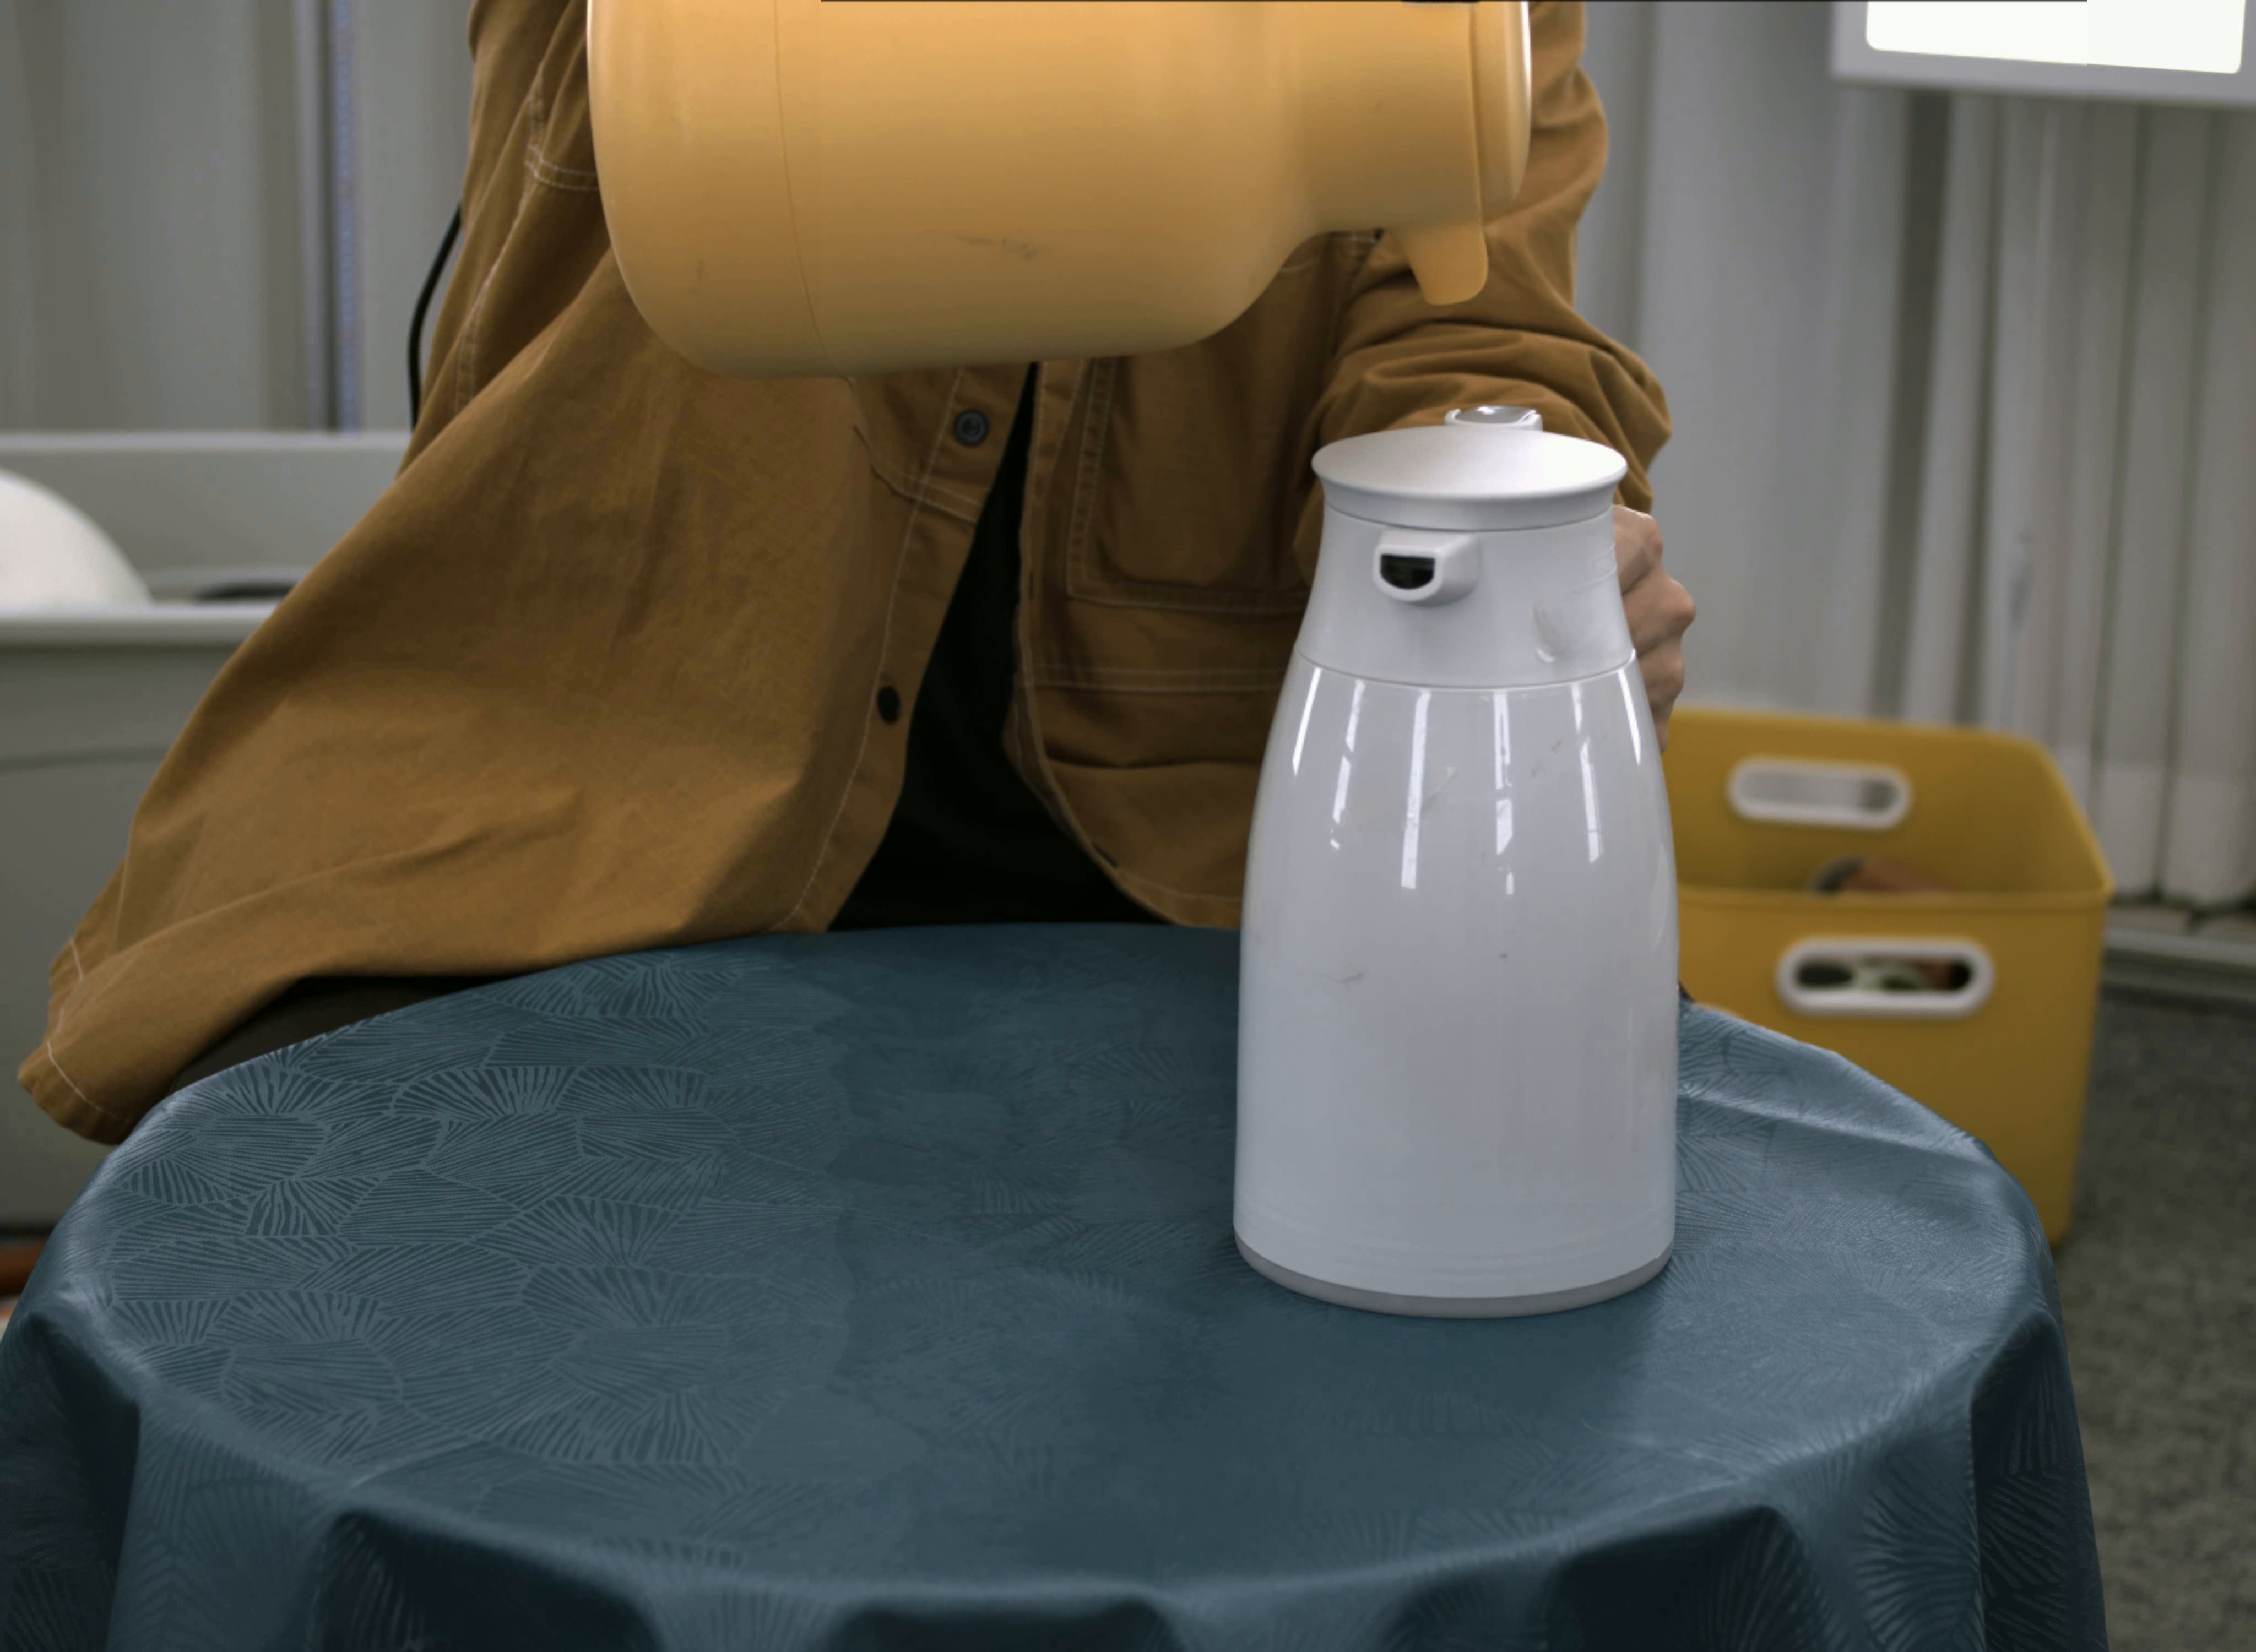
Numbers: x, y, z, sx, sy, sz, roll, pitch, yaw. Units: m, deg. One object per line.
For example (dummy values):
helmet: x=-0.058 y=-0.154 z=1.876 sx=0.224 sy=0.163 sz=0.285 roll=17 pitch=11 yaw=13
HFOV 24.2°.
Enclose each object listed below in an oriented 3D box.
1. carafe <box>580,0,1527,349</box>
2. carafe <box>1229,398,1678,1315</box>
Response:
carafe: x=-0.018 y=-0.236 z=1.476 sx=0.259 sy=0.204 sz=0.162 roll=-1 pitch=23 yaw=4
carafe: x=0.103 y=0.000 z=1.564 sx=0.131 sy=0.250 sz=0.168 roll=5 pitch=16 yaw=17
